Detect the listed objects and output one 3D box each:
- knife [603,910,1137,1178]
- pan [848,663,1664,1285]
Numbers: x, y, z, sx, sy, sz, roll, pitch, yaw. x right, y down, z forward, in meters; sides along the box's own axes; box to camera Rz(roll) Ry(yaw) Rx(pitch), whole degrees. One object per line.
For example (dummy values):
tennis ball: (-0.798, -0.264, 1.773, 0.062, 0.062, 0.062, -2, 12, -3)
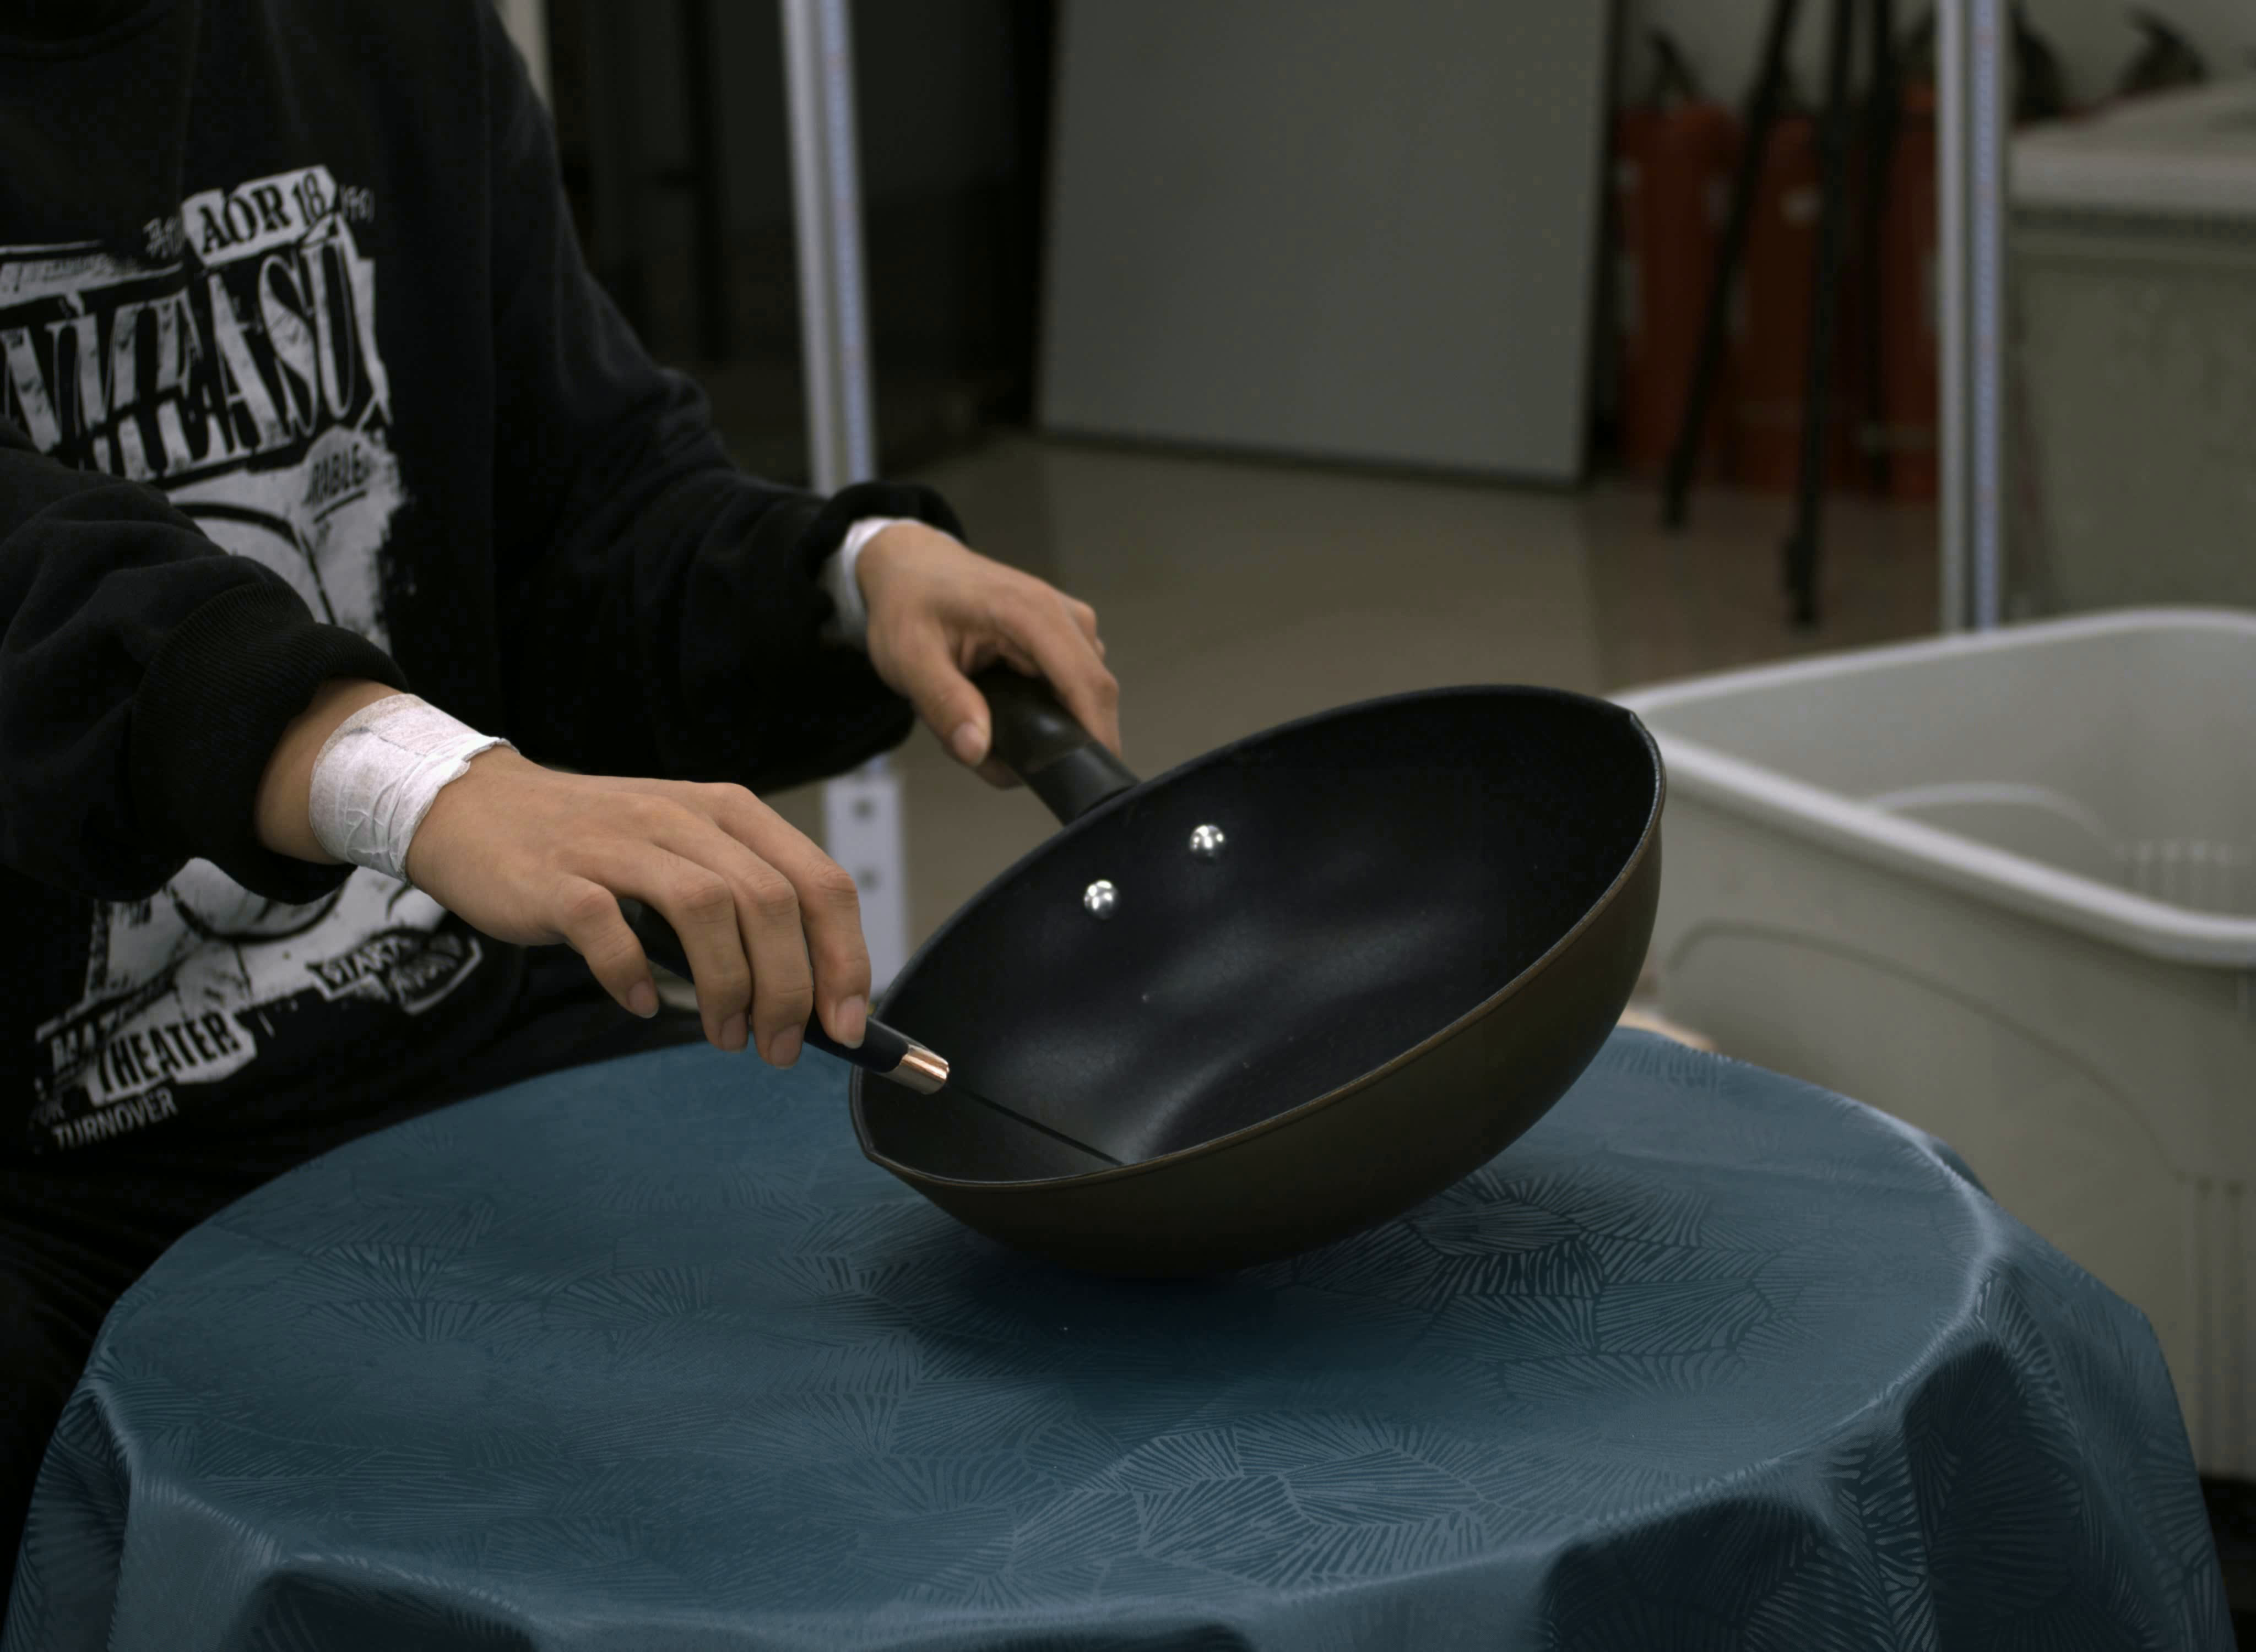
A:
knife: (-0.057, 0.075, 1.592, 0.222, 0.017, 0.026, 26, -17, -20)
pan: (0.026, 0.038, 1.803, 0.285, 0.087, 0.467, -30, 22, -8)
